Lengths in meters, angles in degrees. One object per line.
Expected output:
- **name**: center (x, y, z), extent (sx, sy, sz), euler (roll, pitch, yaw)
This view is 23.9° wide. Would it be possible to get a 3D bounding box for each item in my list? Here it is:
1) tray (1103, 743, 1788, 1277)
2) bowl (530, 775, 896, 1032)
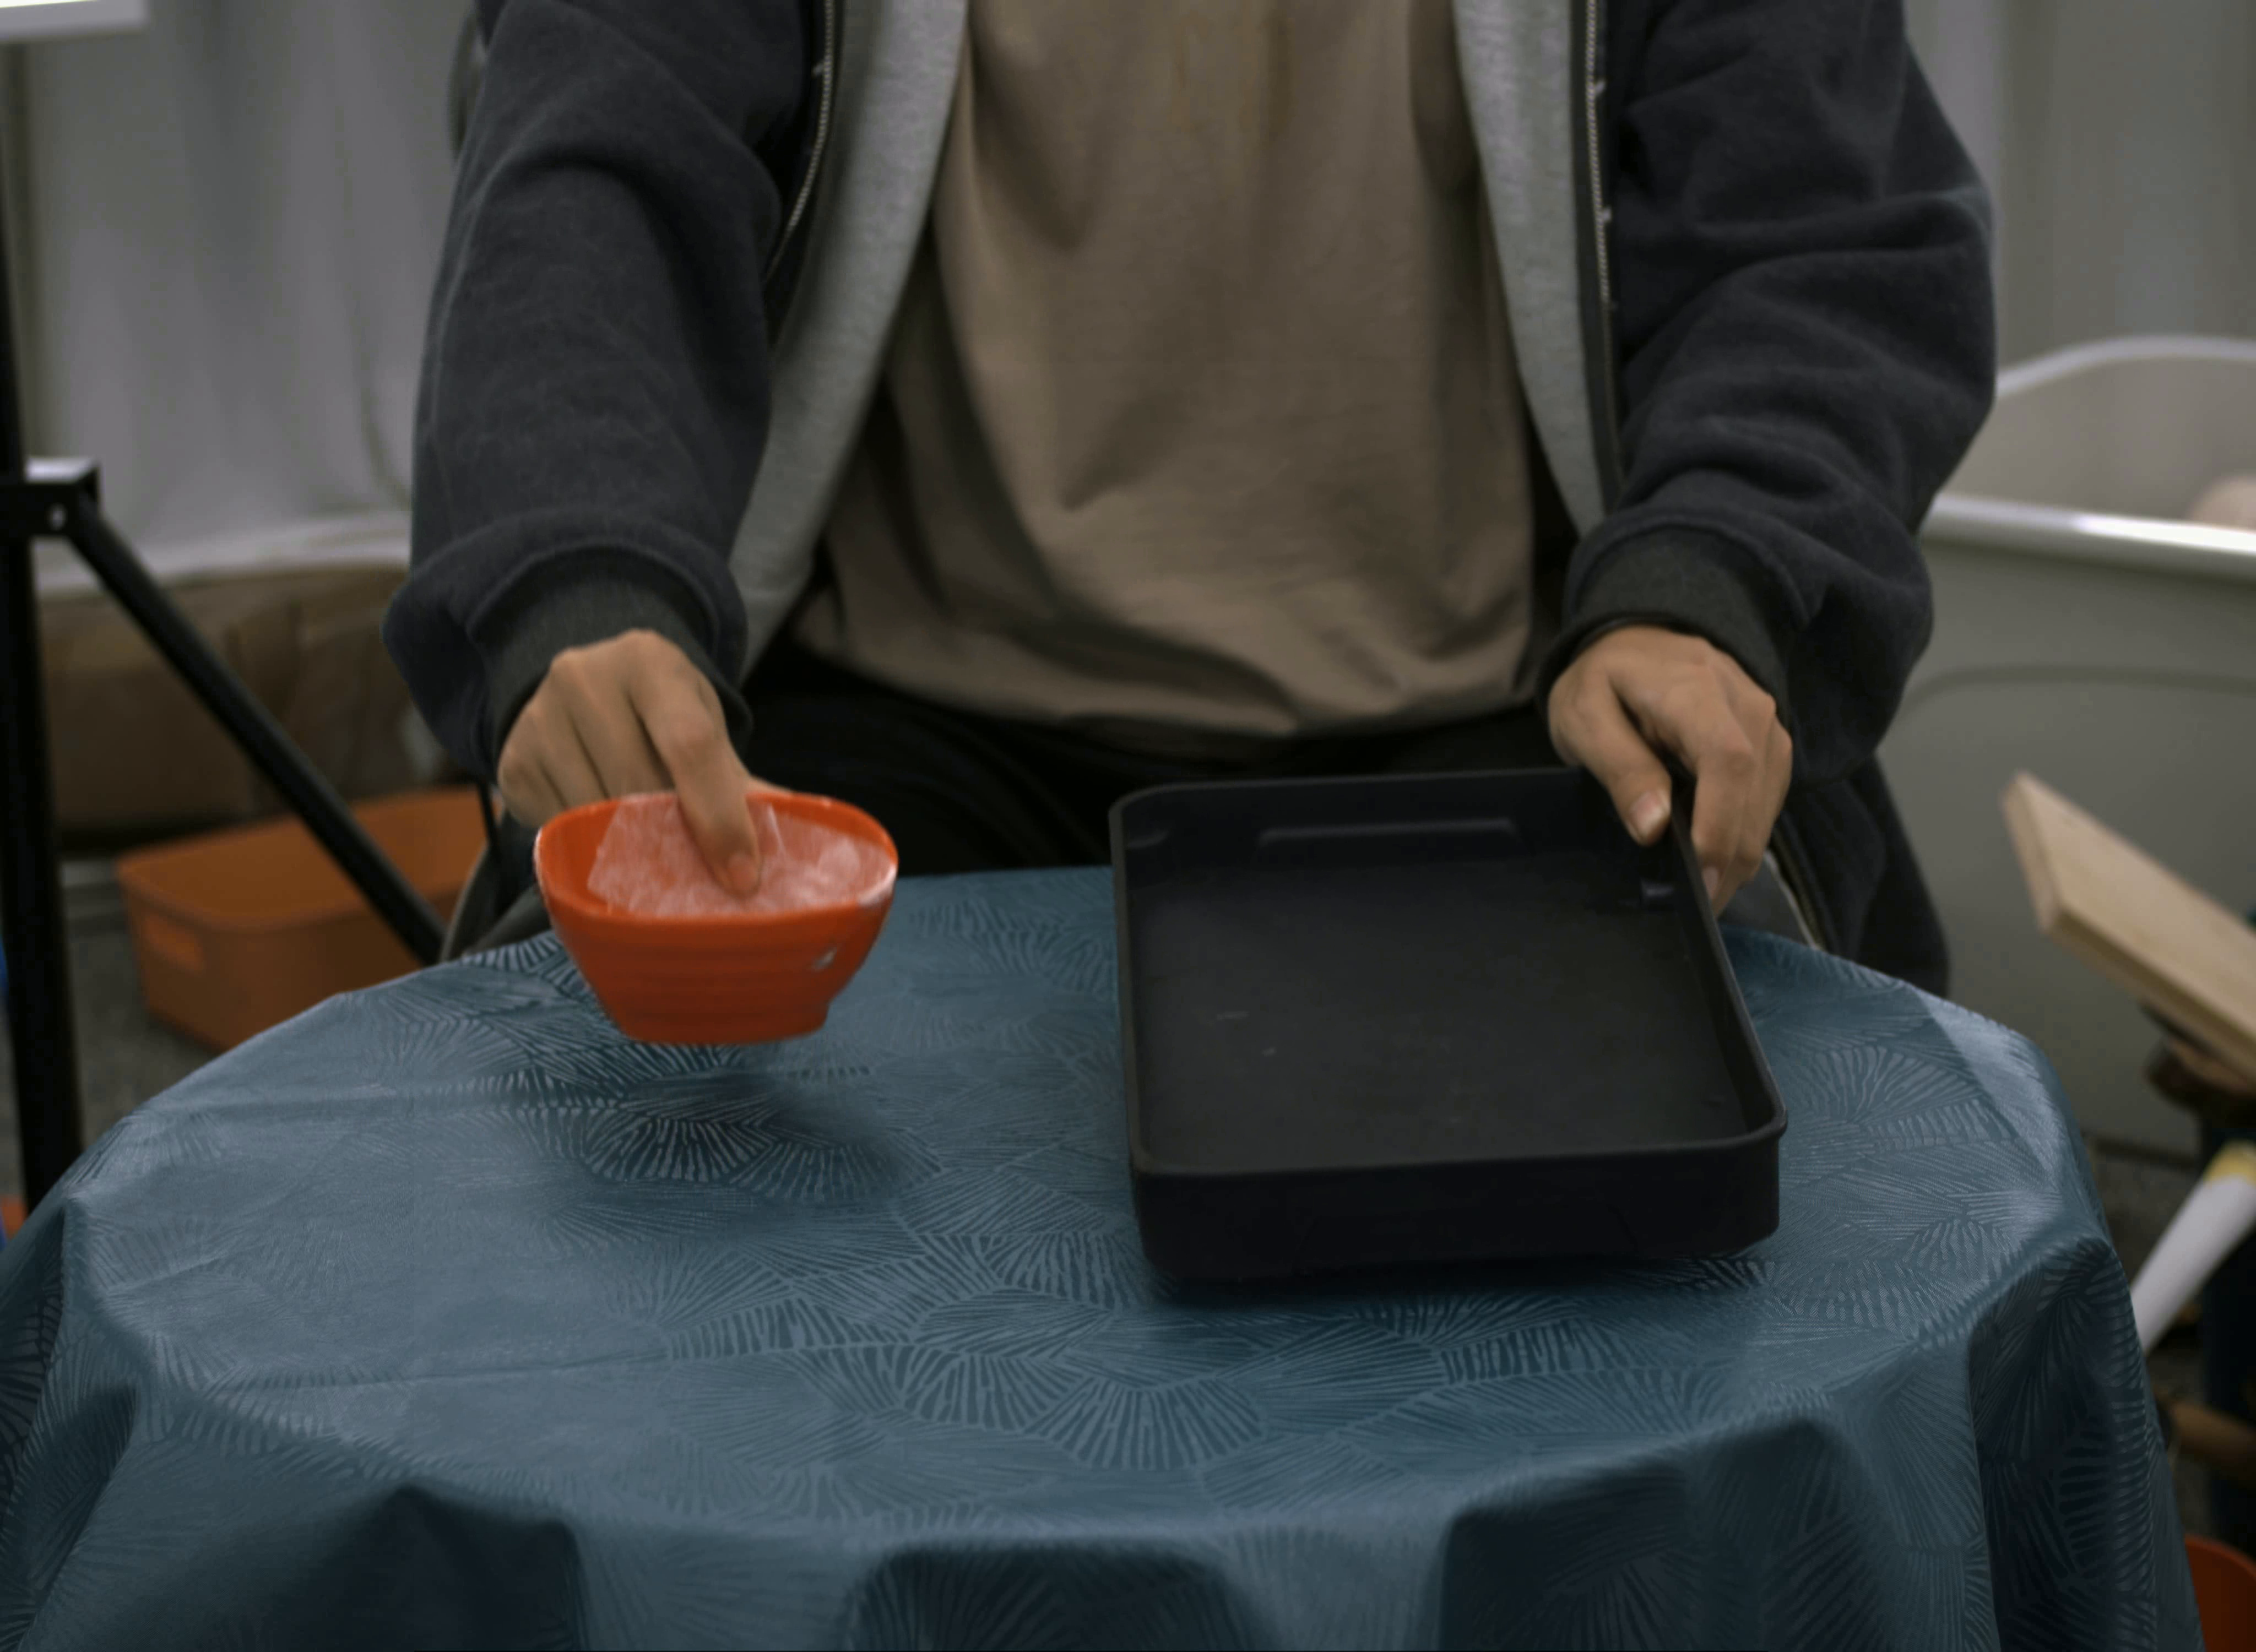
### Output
- **tray**: center (0.088, 0.049, 1.596), extent (0.183, 0.037, 0.320), euler (-3, 21, 0)
- **bowl**: center (-0.126, 0.026, 1.623), extent (0.118, 0.051, 0.120), euler (0, 21, -1)
